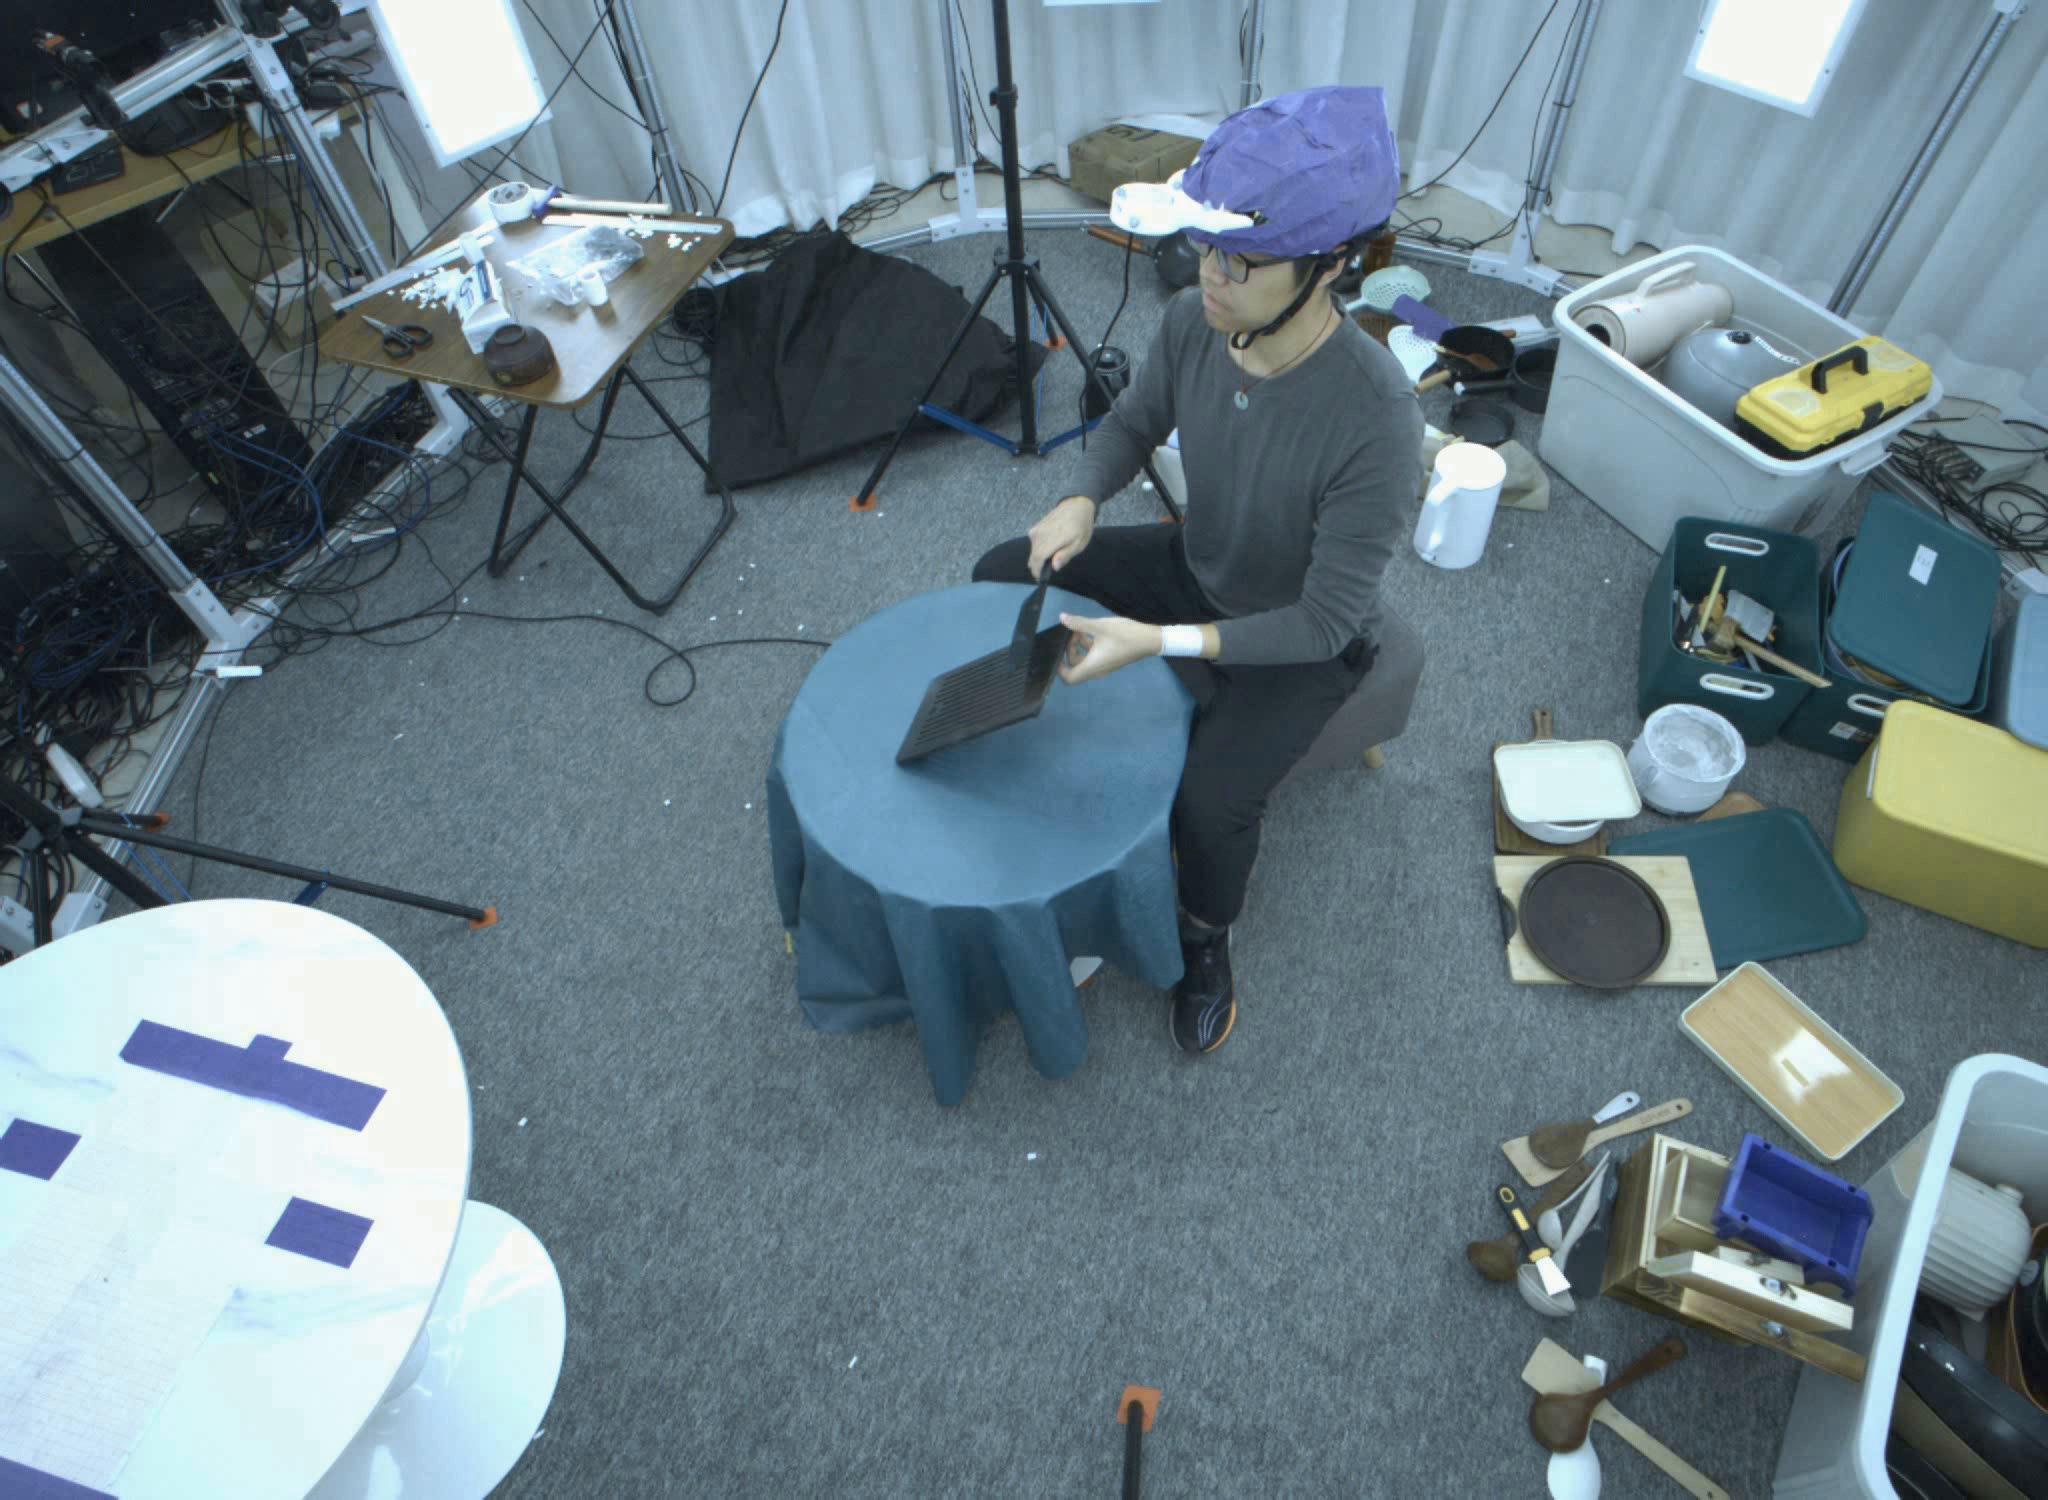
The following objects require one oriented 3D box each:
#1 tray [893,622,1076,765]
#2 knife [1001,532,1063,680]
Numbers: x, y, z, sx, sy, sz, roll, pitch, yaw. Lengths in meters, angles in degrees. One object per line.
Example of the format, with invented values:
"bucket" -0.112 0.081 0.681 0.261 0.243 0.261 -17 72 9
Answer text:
"tray" -0.057 -0.074 1.724 0.300 0.019 0.170 -17 40 43
"knife" 0.013 -0.208 1.714 0.021 0.080 0.301 35 45 -20
